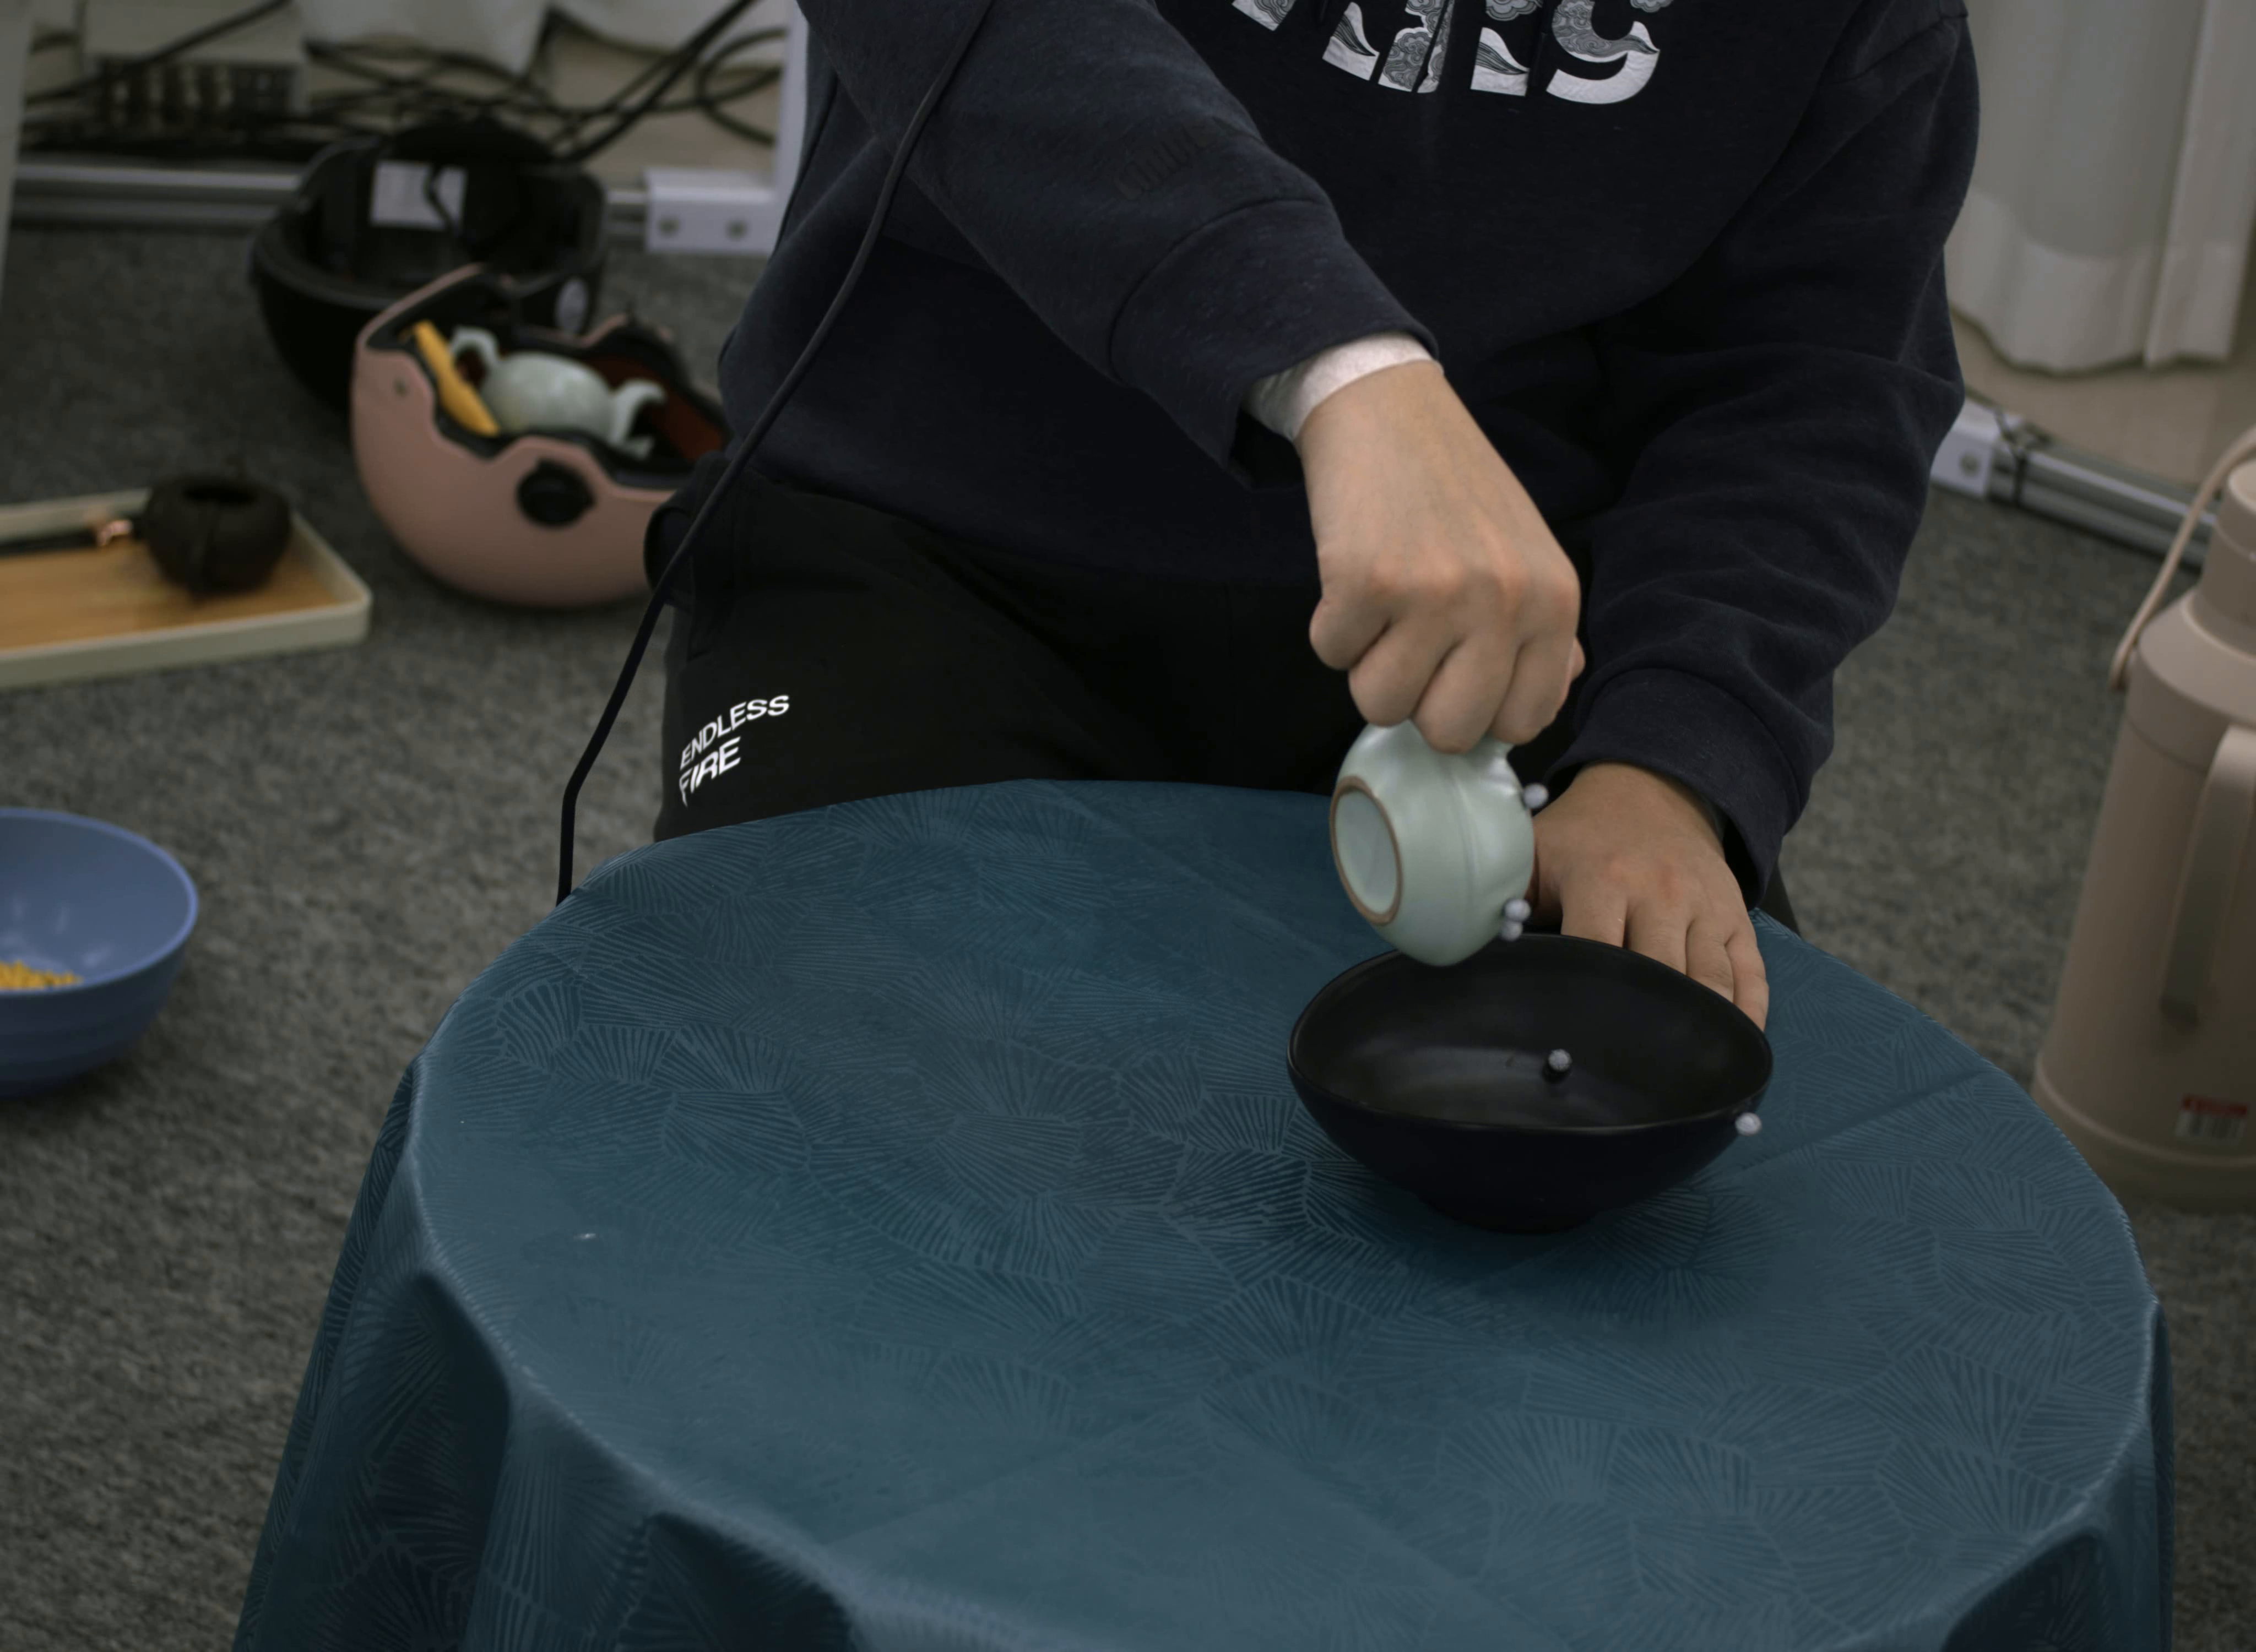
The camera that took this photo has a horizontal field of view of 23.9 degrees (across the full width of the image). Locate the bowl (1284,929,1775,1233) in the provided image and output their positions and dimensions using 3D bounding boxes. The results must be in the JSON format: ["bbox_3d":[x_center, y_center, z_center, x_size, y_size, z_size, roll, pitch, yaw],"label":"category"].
[{"bbox_3d":[0.136,0.096,1.823,0.169,0.066,0.138,-2,27,-15],"label":"bowl"}]

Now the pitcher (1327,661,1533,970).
[{"bbox_3d":[0.103,-0.005,1.752,0.060,0.107,0.087,-14,39,-22],"label":"pitcher"}]
